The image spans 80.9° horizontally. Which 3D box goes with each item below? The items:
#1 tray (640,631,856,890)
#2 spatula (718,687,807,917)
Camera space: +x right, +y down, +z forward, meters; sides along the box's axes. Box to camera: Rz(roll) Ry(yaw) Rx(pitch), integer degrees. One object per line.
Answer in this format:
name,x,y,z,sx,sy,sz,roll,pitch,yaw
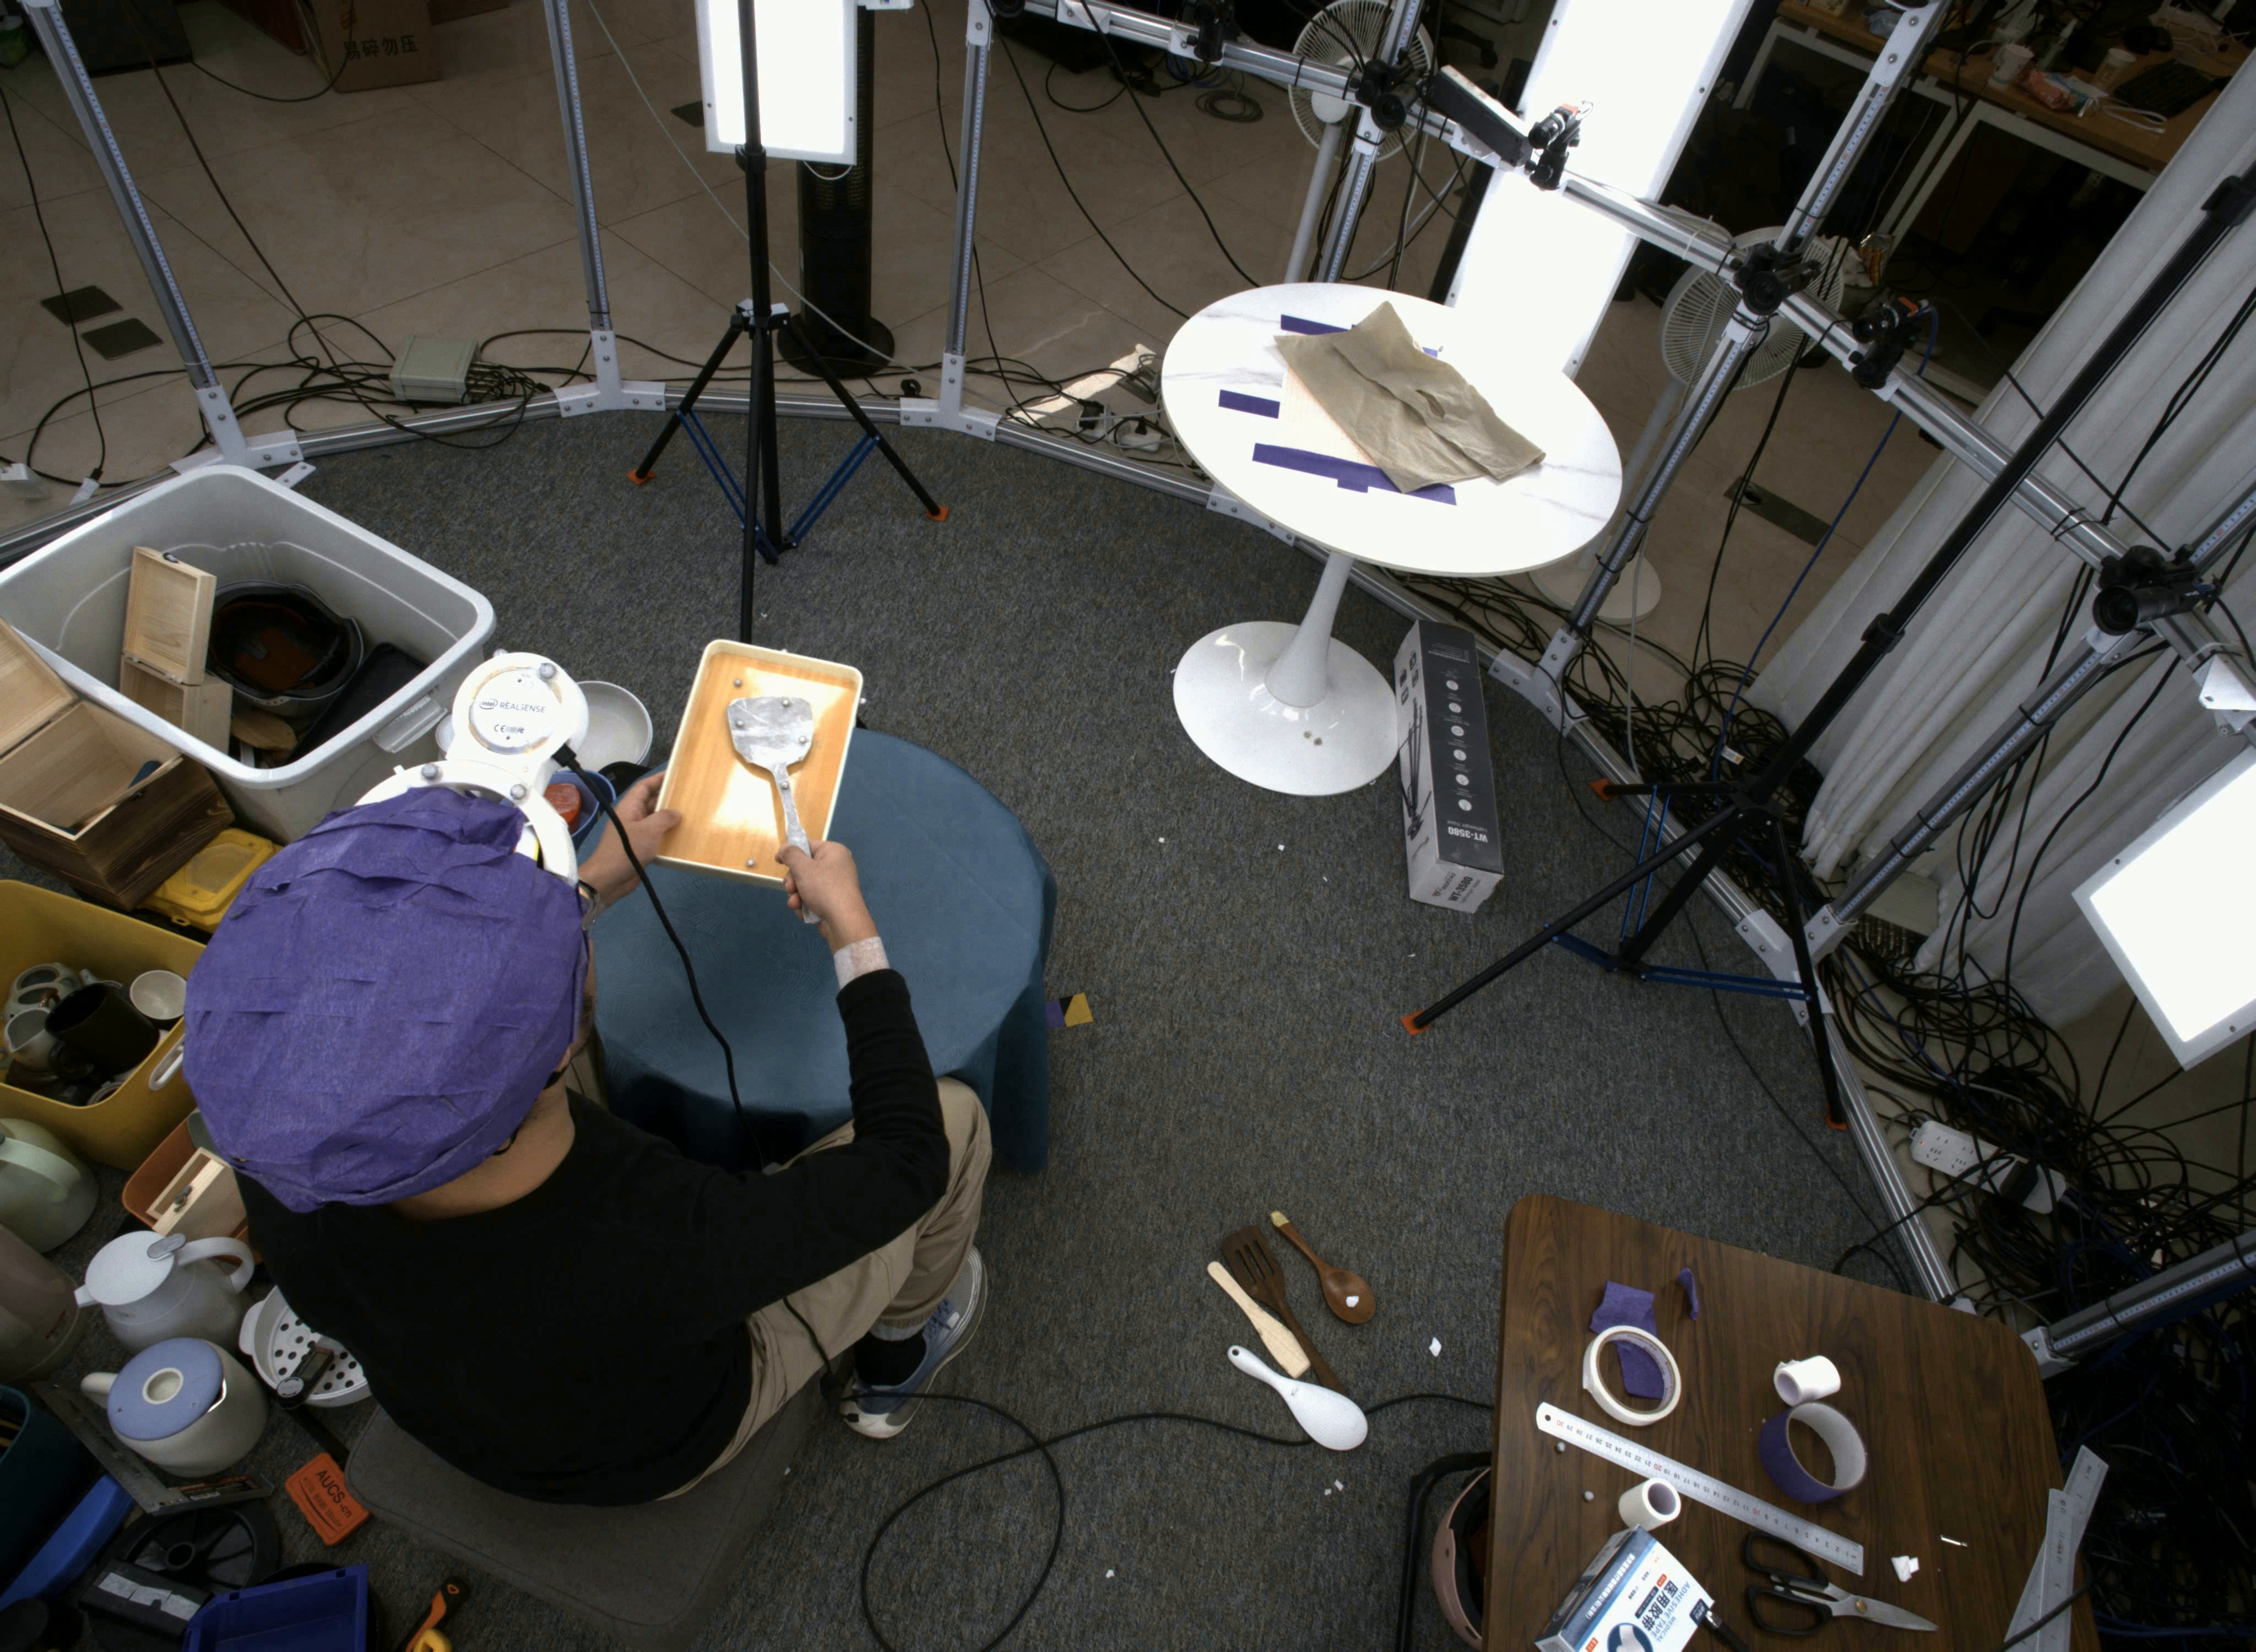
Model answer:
tray,-0.432,-0.080,1.486,0.192,0.027,0.297,12,62,-12
spatula,-0.383,-0.037,1.413,0.099,0.046,0.353,-4,40,-22
